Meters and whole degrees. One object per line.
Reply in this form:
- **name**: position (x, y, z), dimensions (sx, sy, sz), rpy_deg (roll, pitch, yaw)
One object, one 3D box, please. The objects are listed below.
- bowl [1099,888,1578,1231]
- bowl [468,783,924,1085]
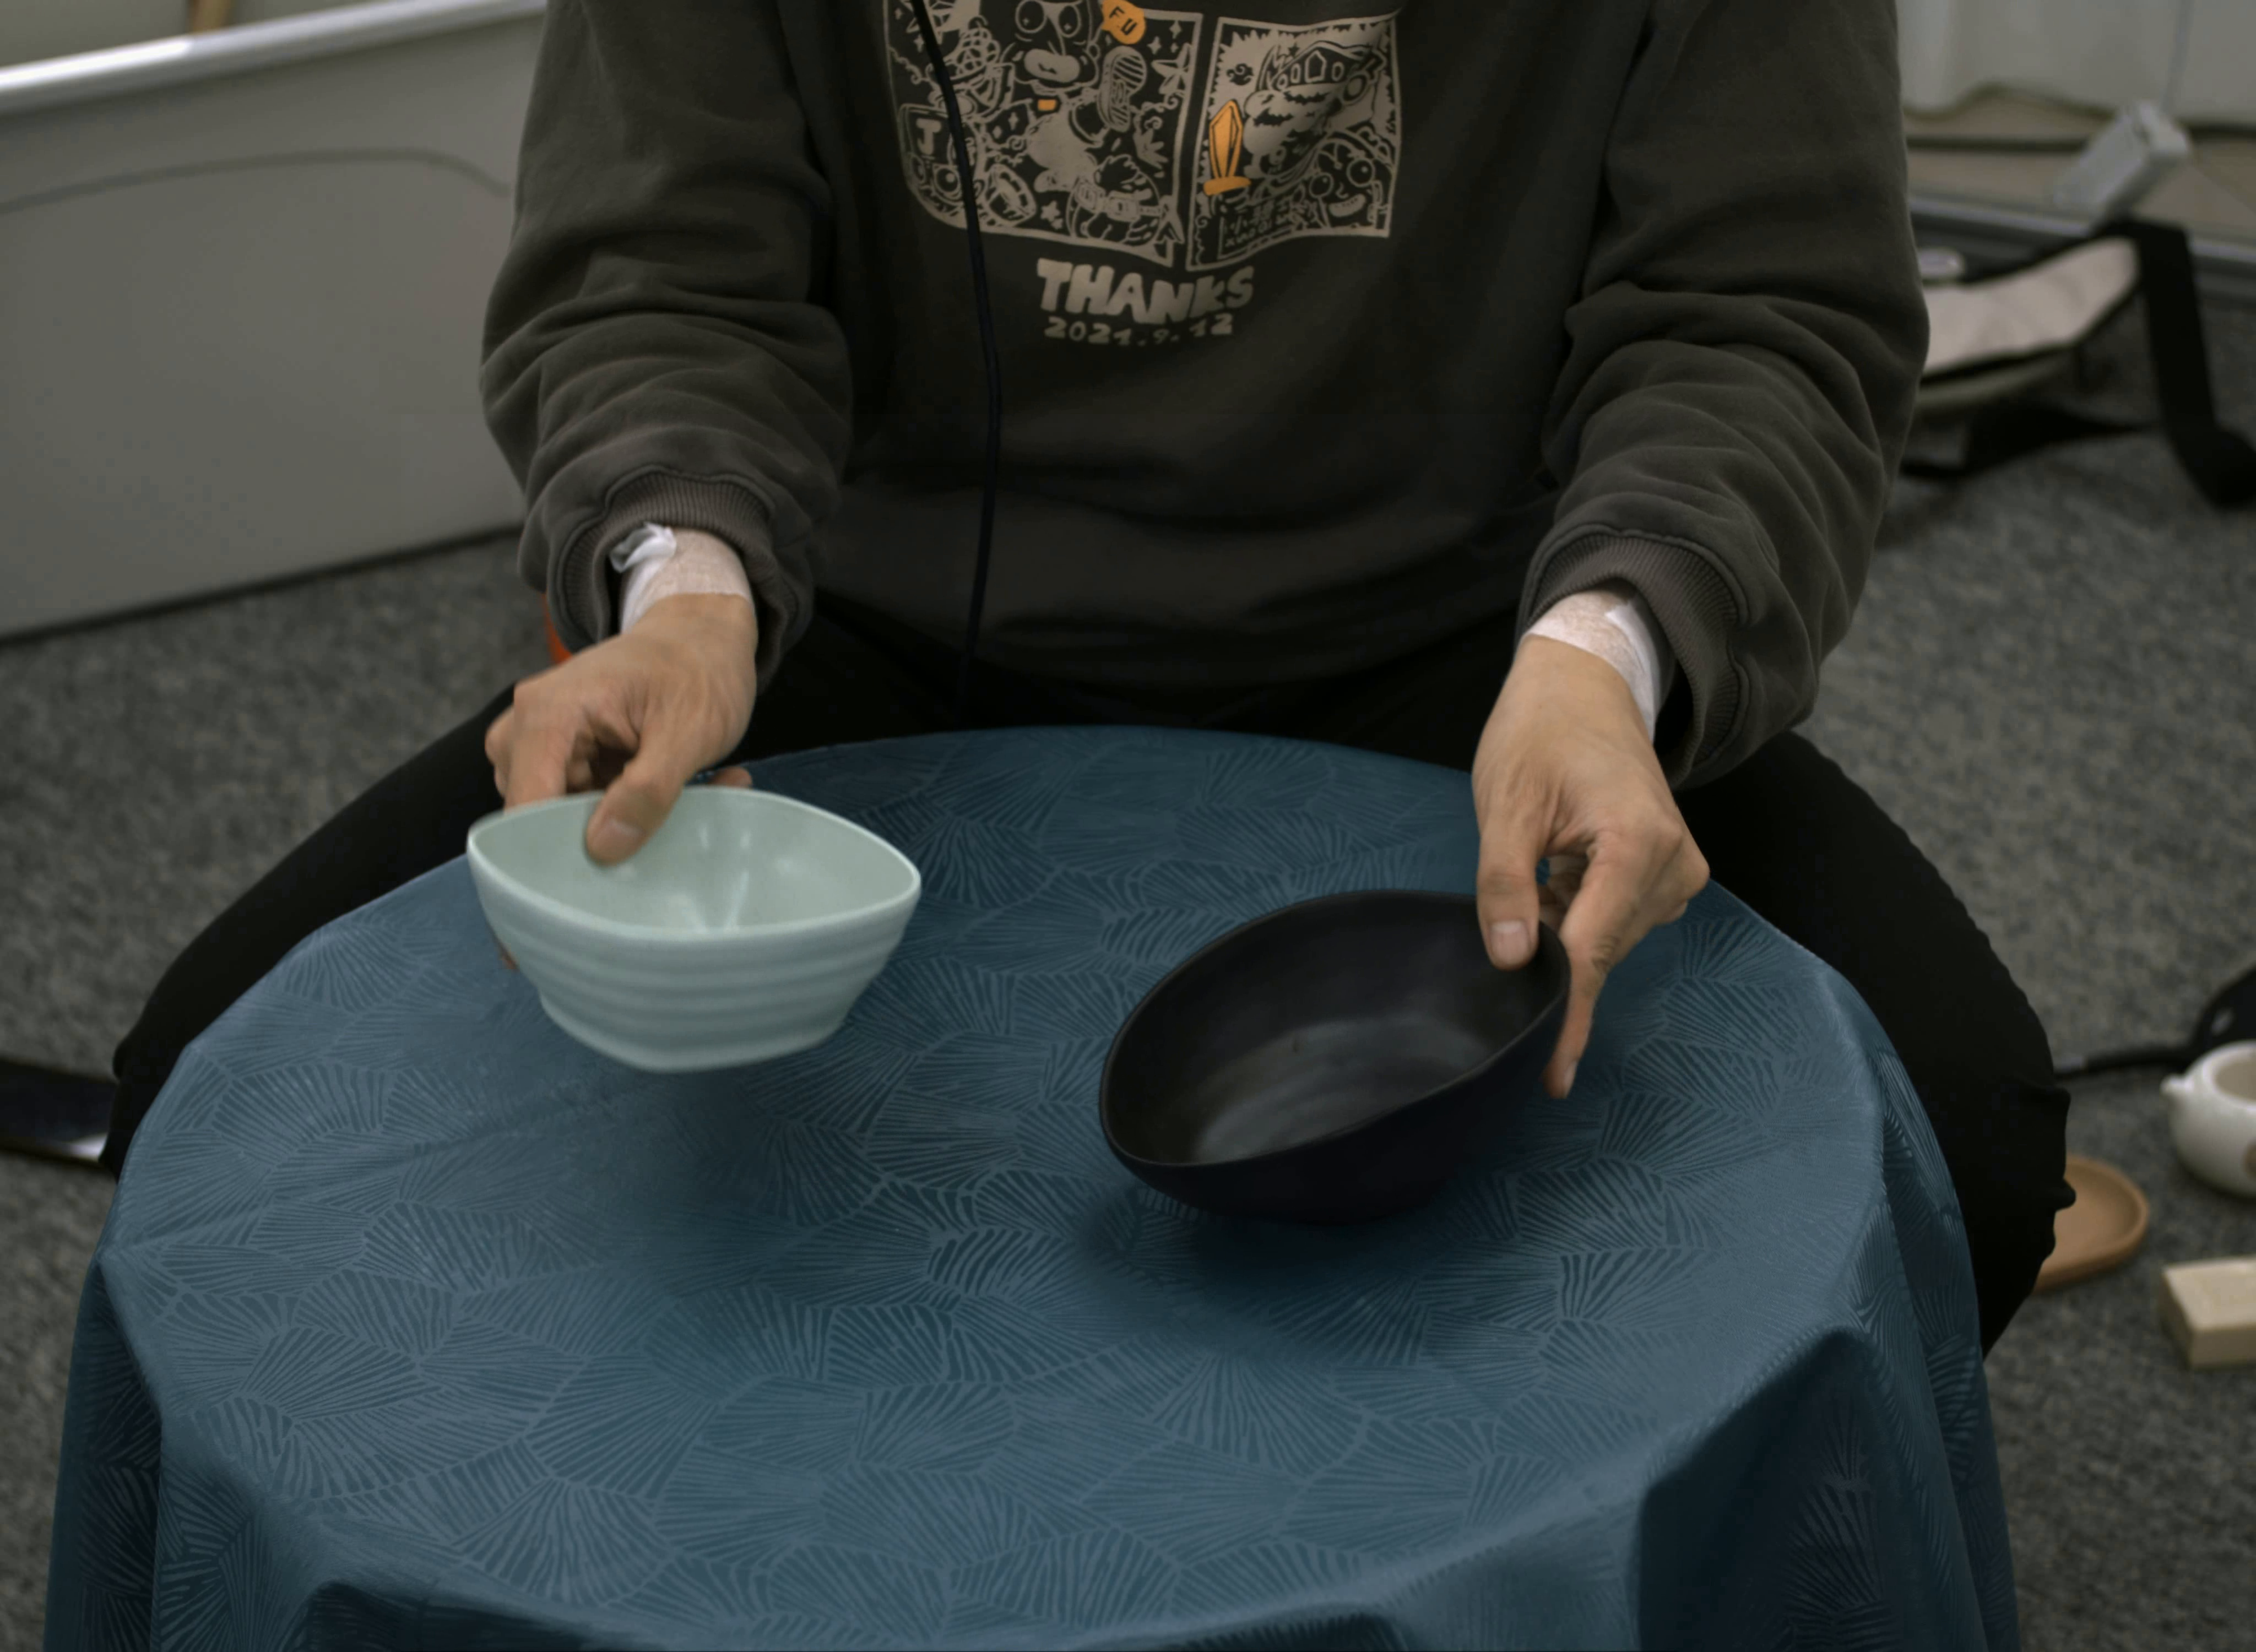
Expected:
- **bowl**: position (0.073, 0.088, 1.843), dimensions (0.172, 0.066, 0.137), rpy_deg (-28, 32, -26)
- **bowl**: position (-0.143, 0.040, 1.851), dimensions (0.151, 0.058, 0.153), rpy_deg (4, 21, -1)
